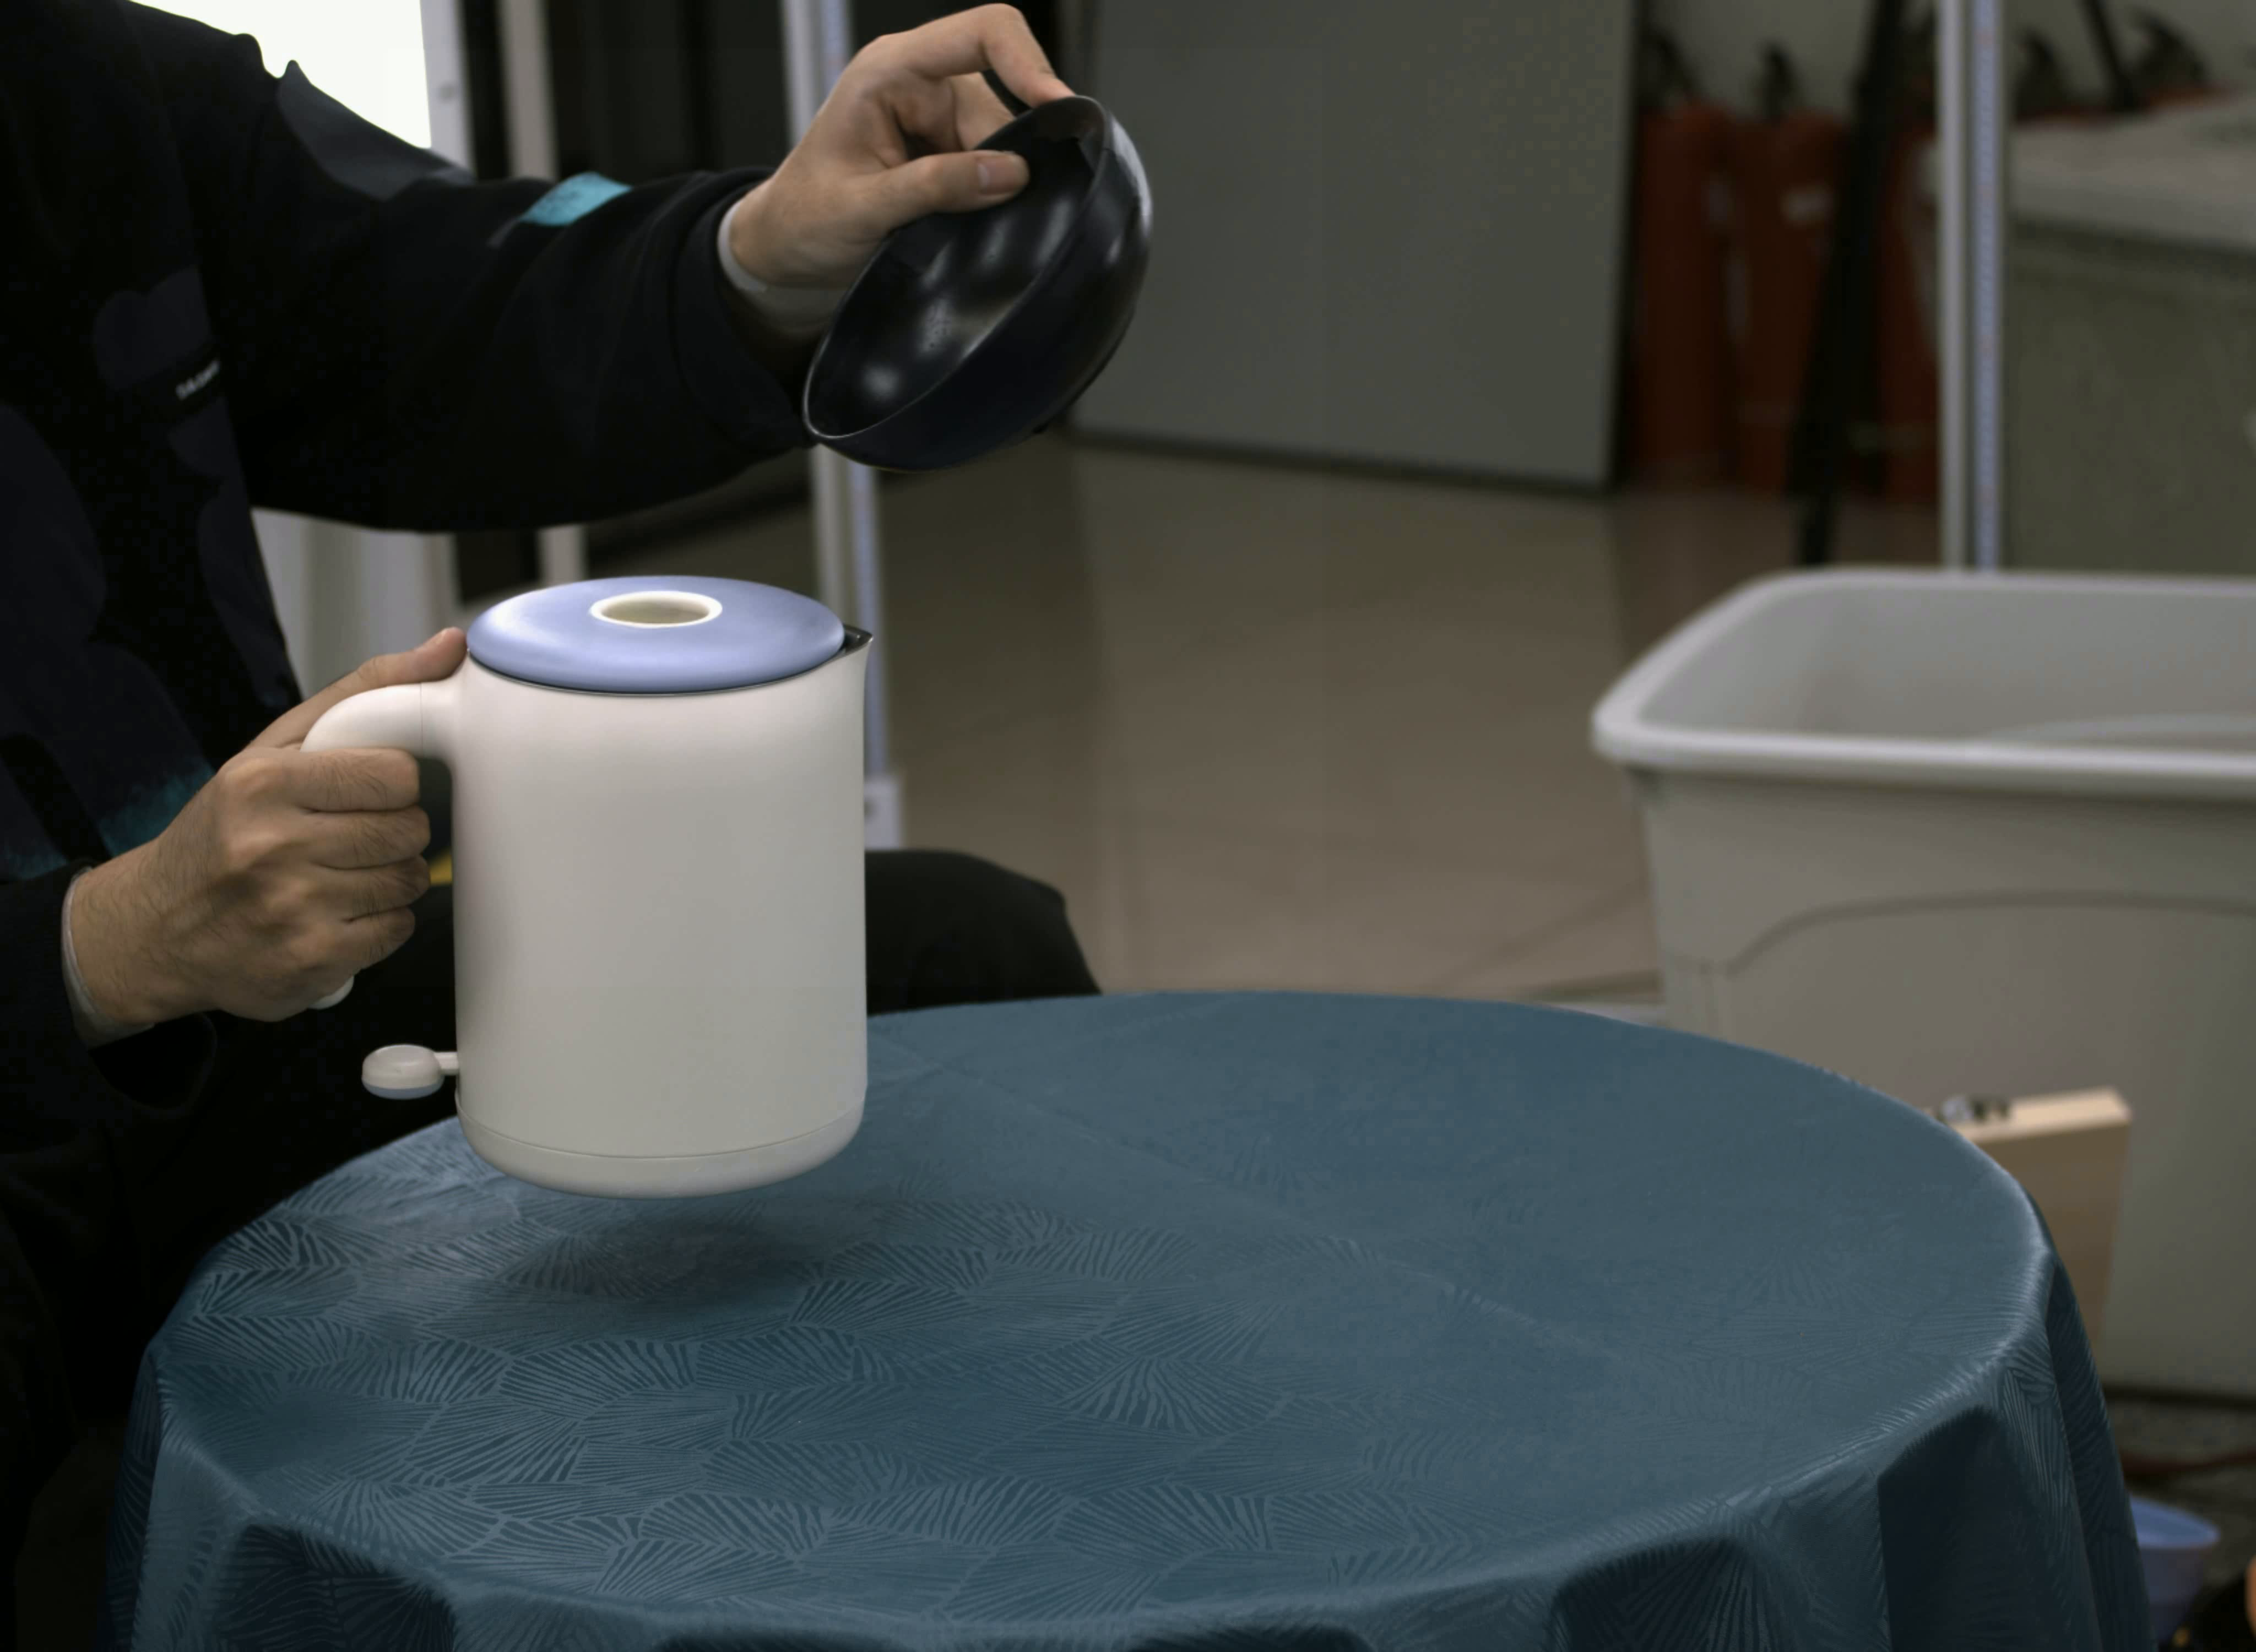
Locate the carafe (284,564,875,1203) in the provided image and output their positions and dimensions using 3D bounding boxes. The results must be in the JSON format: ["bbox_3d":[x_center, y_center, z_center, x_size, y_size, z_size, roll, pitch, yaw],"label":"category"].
[{"bbox_3d":[-0.170,0.019,1.695,0.188,0.184,0.133,-5,15,-8],"label":"carafe"}]

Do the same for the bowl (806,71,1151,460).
[{"bbox_3d":[-0.037,-0.165,1.685,0.049,0.140,0.141,38,-2,-22],"label":"bowl"}]
